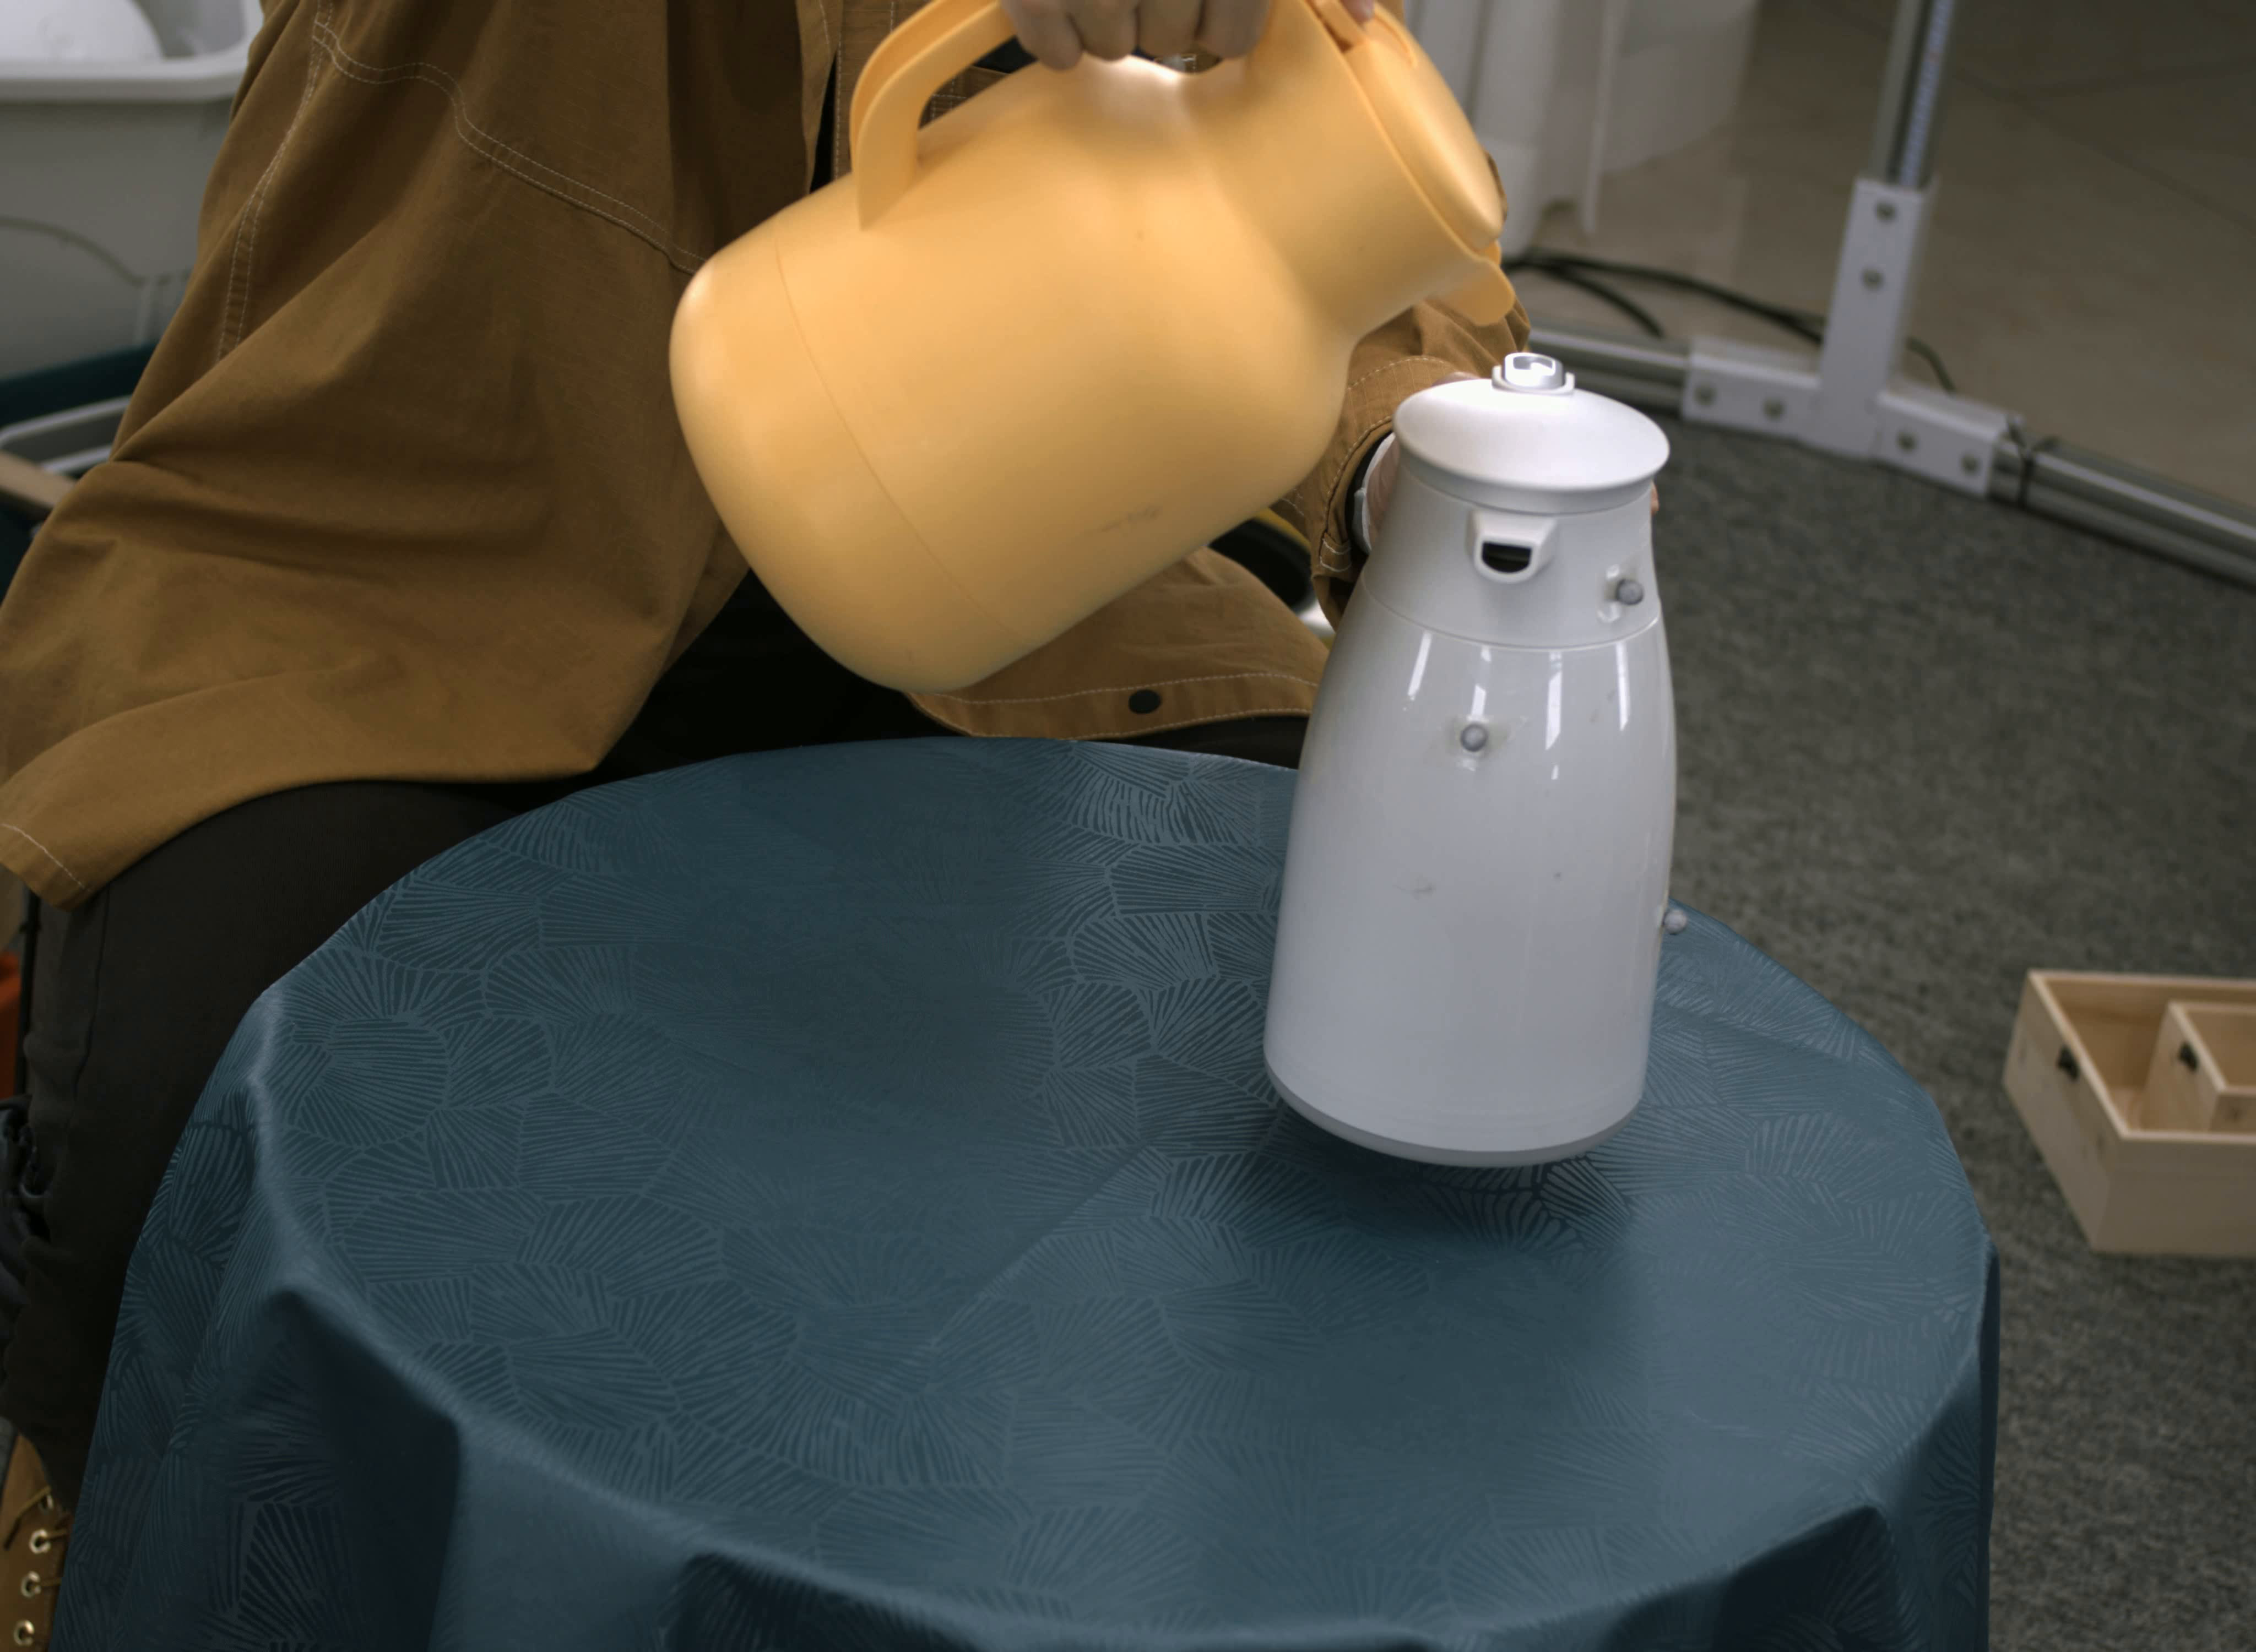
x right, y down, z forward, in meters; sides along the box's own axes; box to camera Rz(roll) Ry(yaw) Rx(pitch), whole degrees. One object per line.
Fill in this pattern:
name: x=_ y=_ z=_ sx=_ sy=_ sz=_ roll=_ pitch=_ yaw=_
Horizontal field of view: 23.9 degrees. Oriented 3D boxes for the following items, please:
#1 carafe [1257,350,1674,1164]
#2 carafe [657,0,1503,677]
carafe: x=0.122 y=-0.034 z=1.805 sx=0.132 sy=0.248 sz=0.168 roll=8 pitch=24 yaw=6
carafe: x=-0.022 y=-0.181 z=1.693 sx=0.260 sy=0.201 sz=0.165 roll=-28 pitch=32 yaw=13
